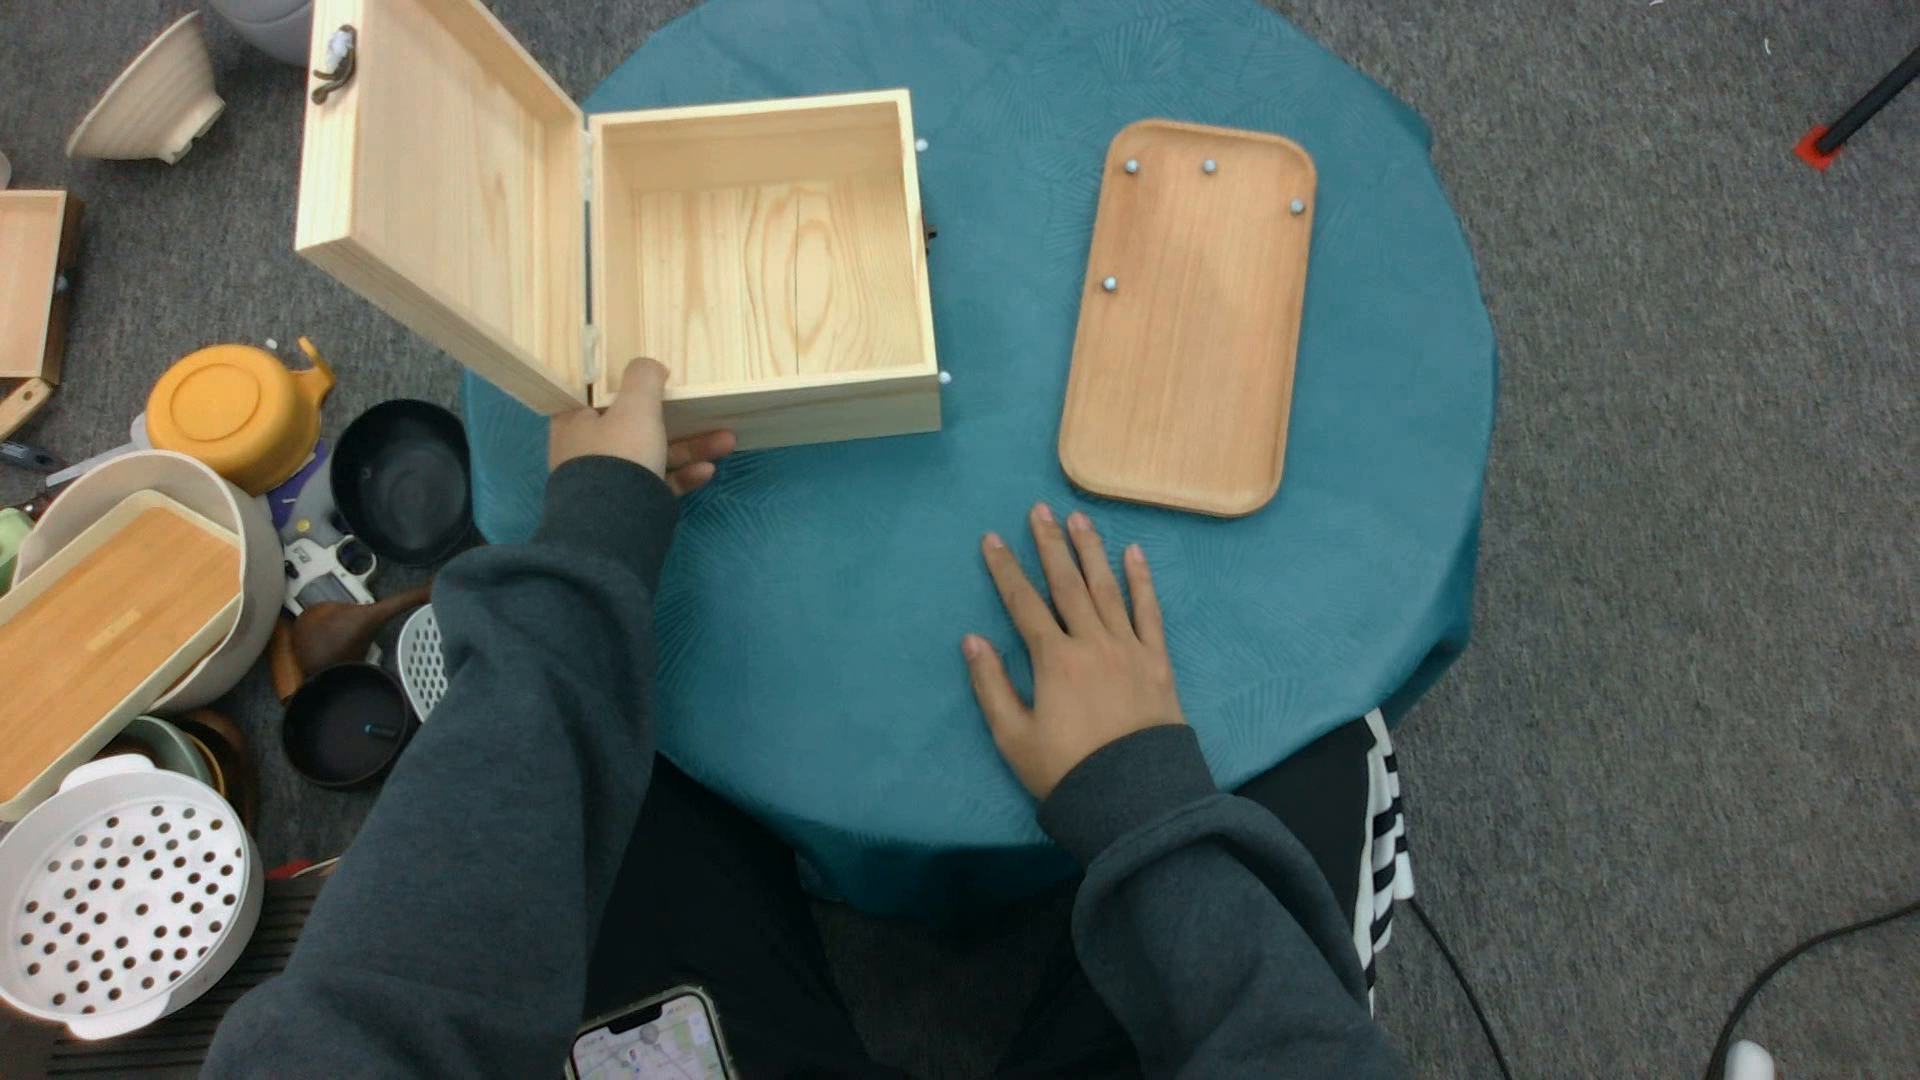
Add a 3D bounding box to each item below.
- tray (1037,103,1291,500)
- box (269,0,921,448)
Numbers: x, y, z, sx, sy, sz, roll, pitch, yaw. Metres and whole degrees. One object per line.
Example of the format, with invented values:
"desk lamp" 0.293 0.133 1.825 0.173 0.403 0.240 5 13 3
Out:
"tray" 0.122 -0.144 0.806 0.130 0.023 0.251 8 71 5
"box" -0.158 -0.179 0.698 0.265 0.252 0.182 -7 74 -1
